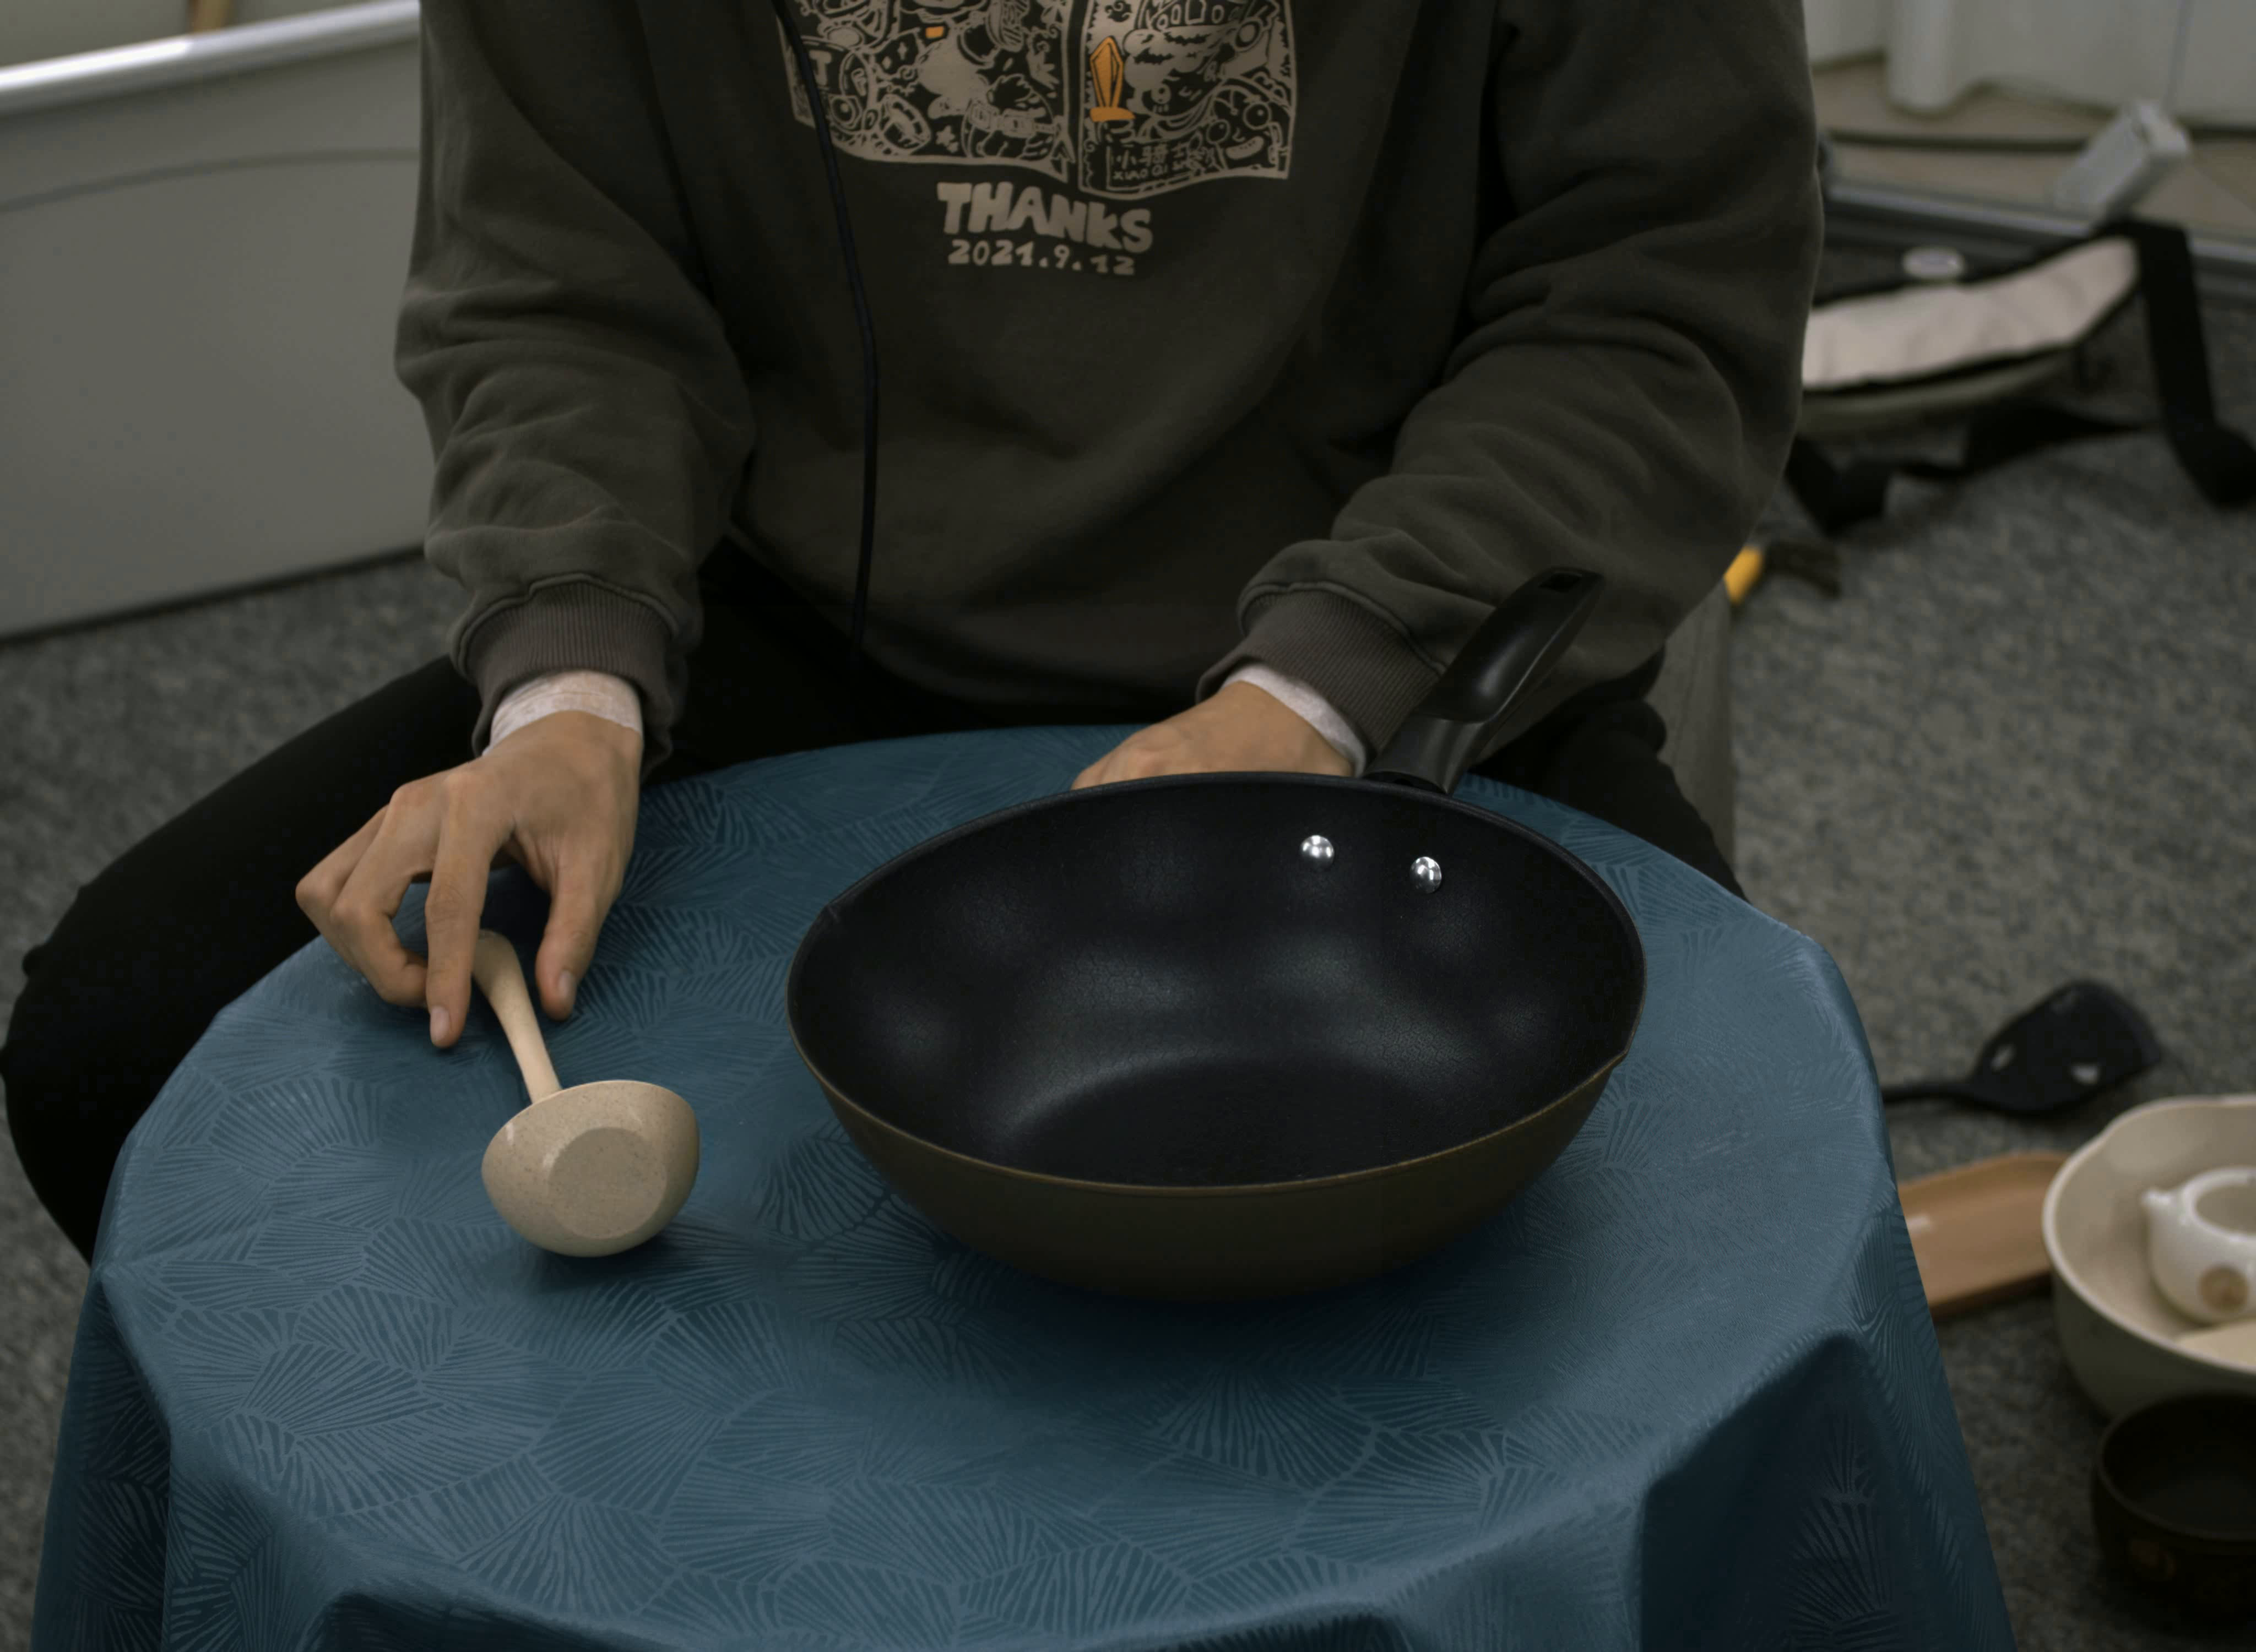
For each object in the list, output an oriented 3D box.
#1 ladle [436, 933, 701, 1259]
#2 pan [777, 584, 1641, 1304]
[{"bbox_3d":[-0.207,0.065,1.913,0.072,0.072,0.257,-15,30,-14],"label":"ladle"},{"bbox_3d":[0.068,0.041,1.921,0.286,0.086,0.471,10,29,24],"label":"pan"}]
